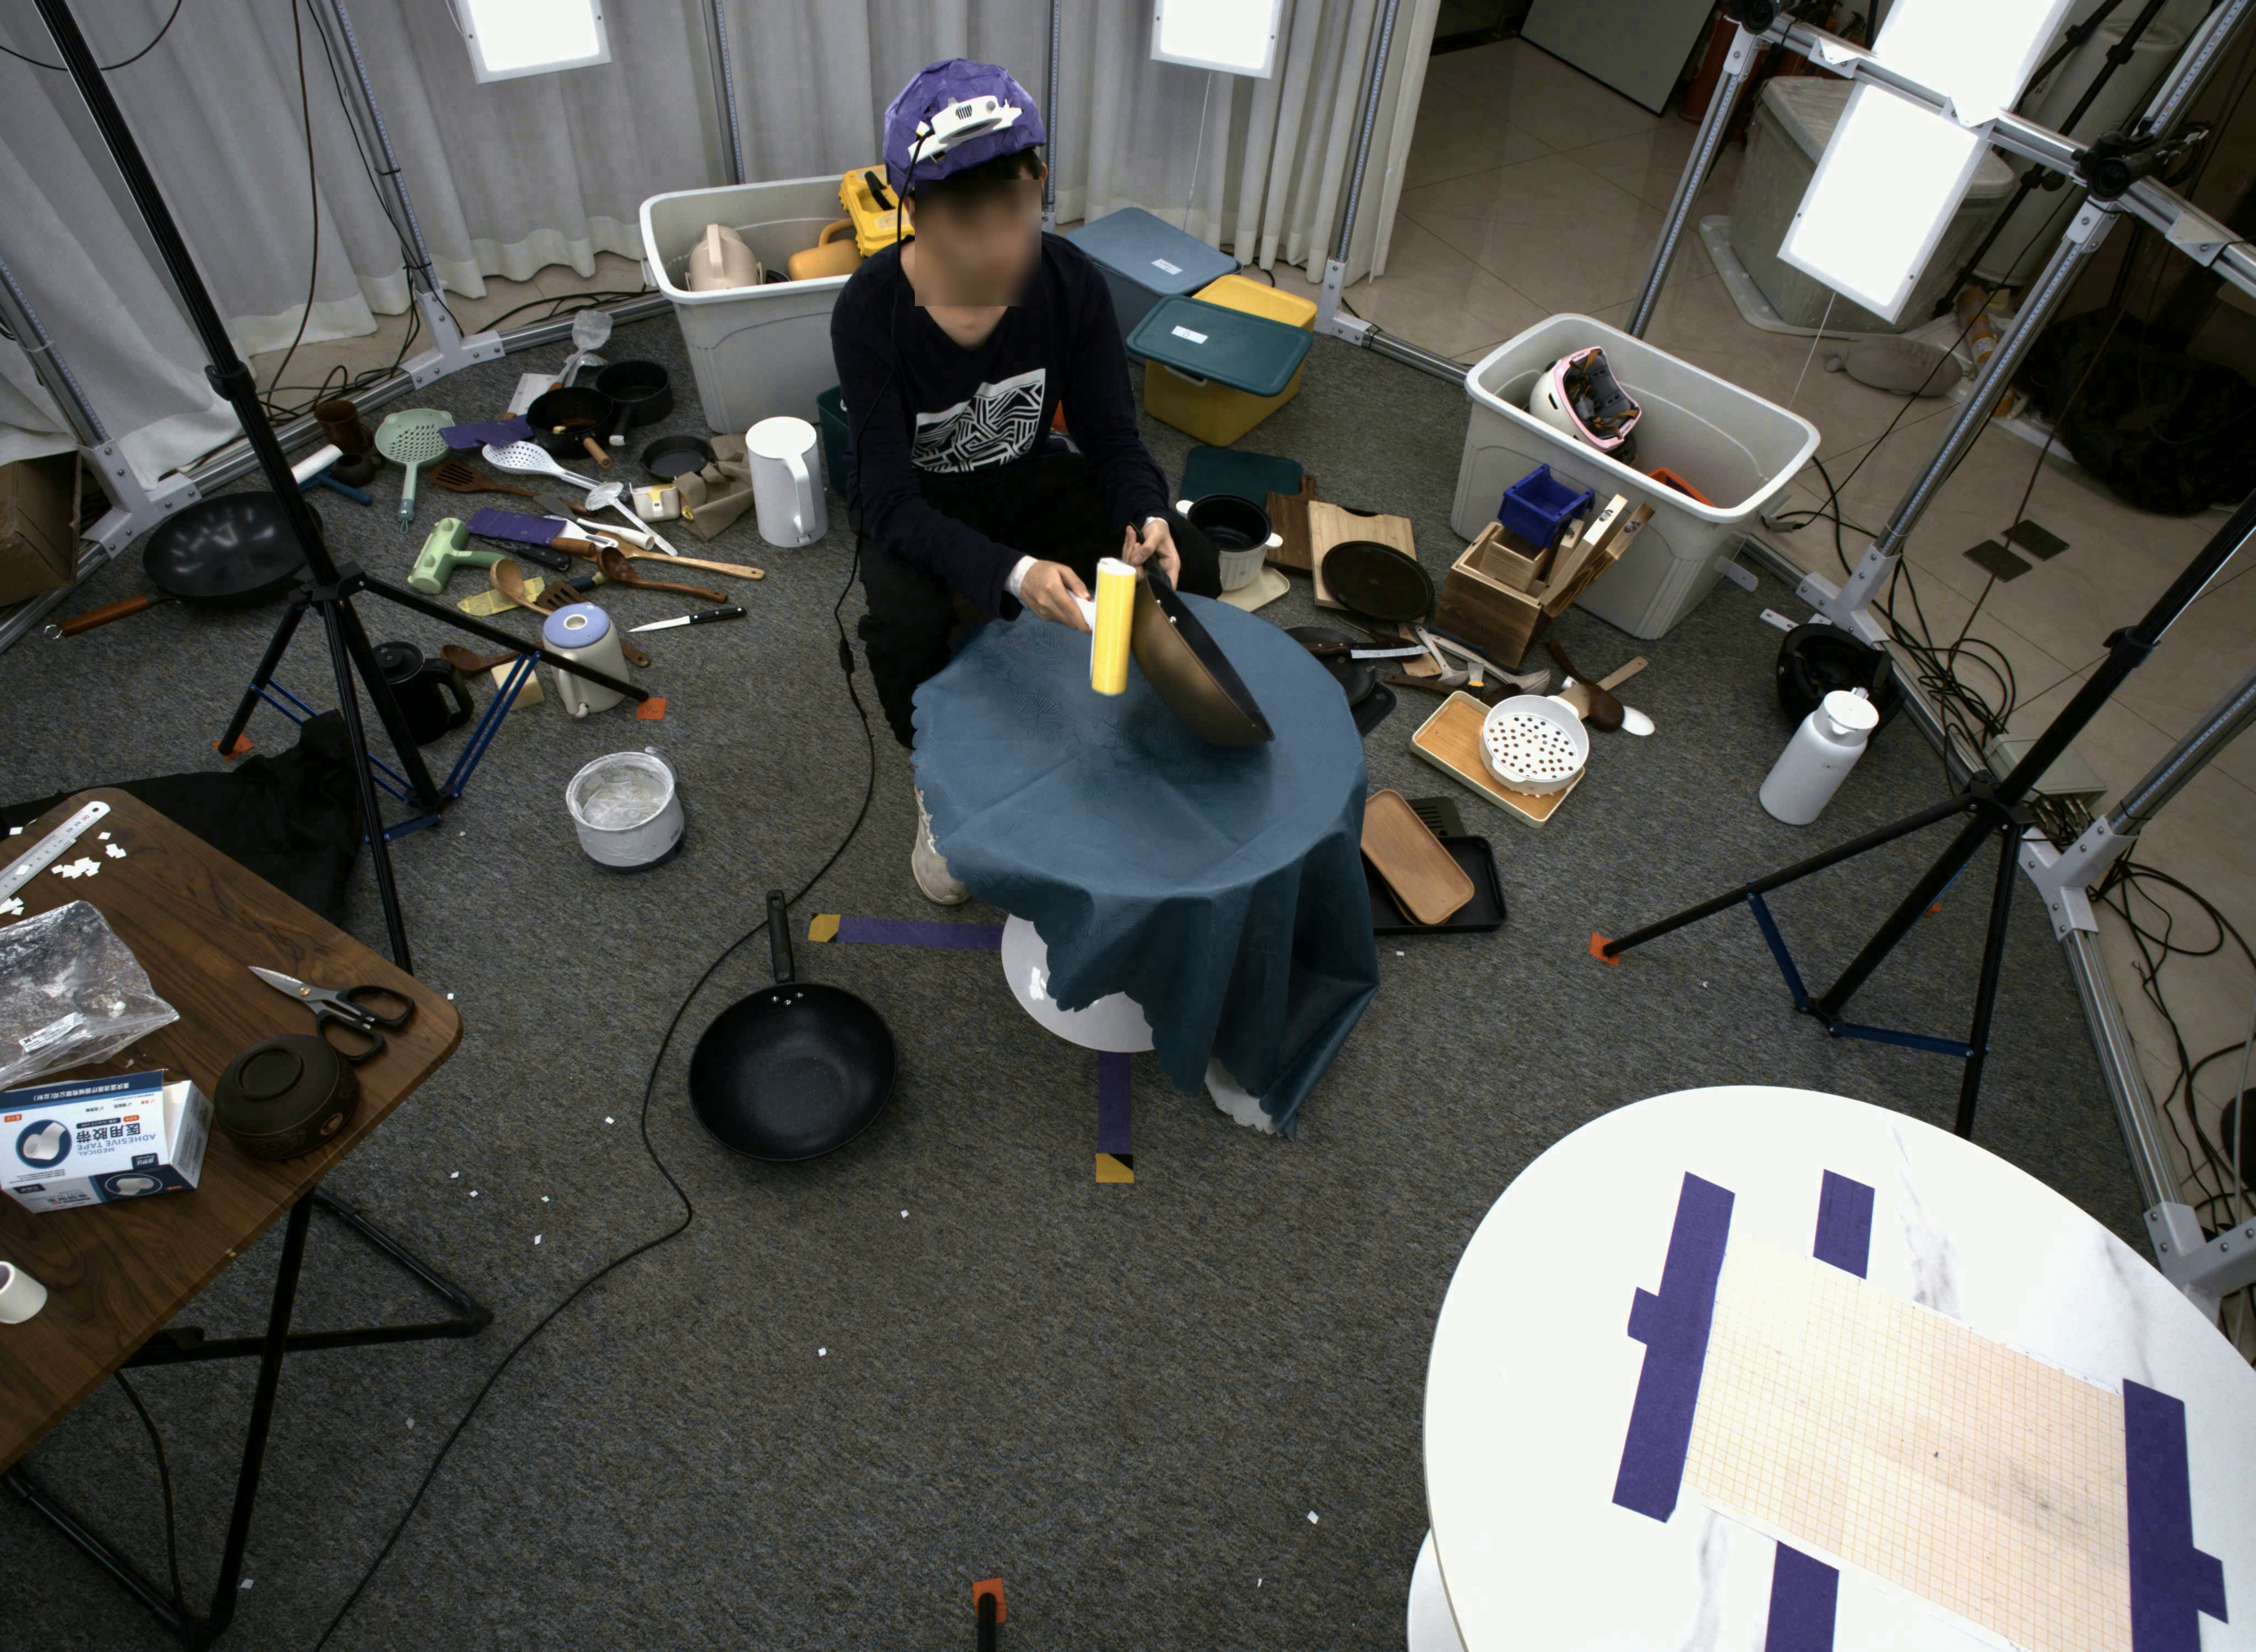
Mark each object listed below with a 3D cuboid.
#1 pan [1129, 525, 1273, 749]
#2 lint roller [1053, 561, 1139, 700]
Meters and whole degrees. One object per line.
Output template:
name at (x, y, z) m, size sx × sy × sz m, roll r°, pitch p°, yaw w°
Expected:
pan at (0.051, -0.269, 1.780) m, size 0.086 × 0.282 × 0.475 m, roll -37°, pitch 47°, yaw 14°
lint roller at (-0.059, -0.275, 1.697) m, size 0.051 × 0.171 × 0.195 m, roll -11°, pitch 29°, yaw -36°
